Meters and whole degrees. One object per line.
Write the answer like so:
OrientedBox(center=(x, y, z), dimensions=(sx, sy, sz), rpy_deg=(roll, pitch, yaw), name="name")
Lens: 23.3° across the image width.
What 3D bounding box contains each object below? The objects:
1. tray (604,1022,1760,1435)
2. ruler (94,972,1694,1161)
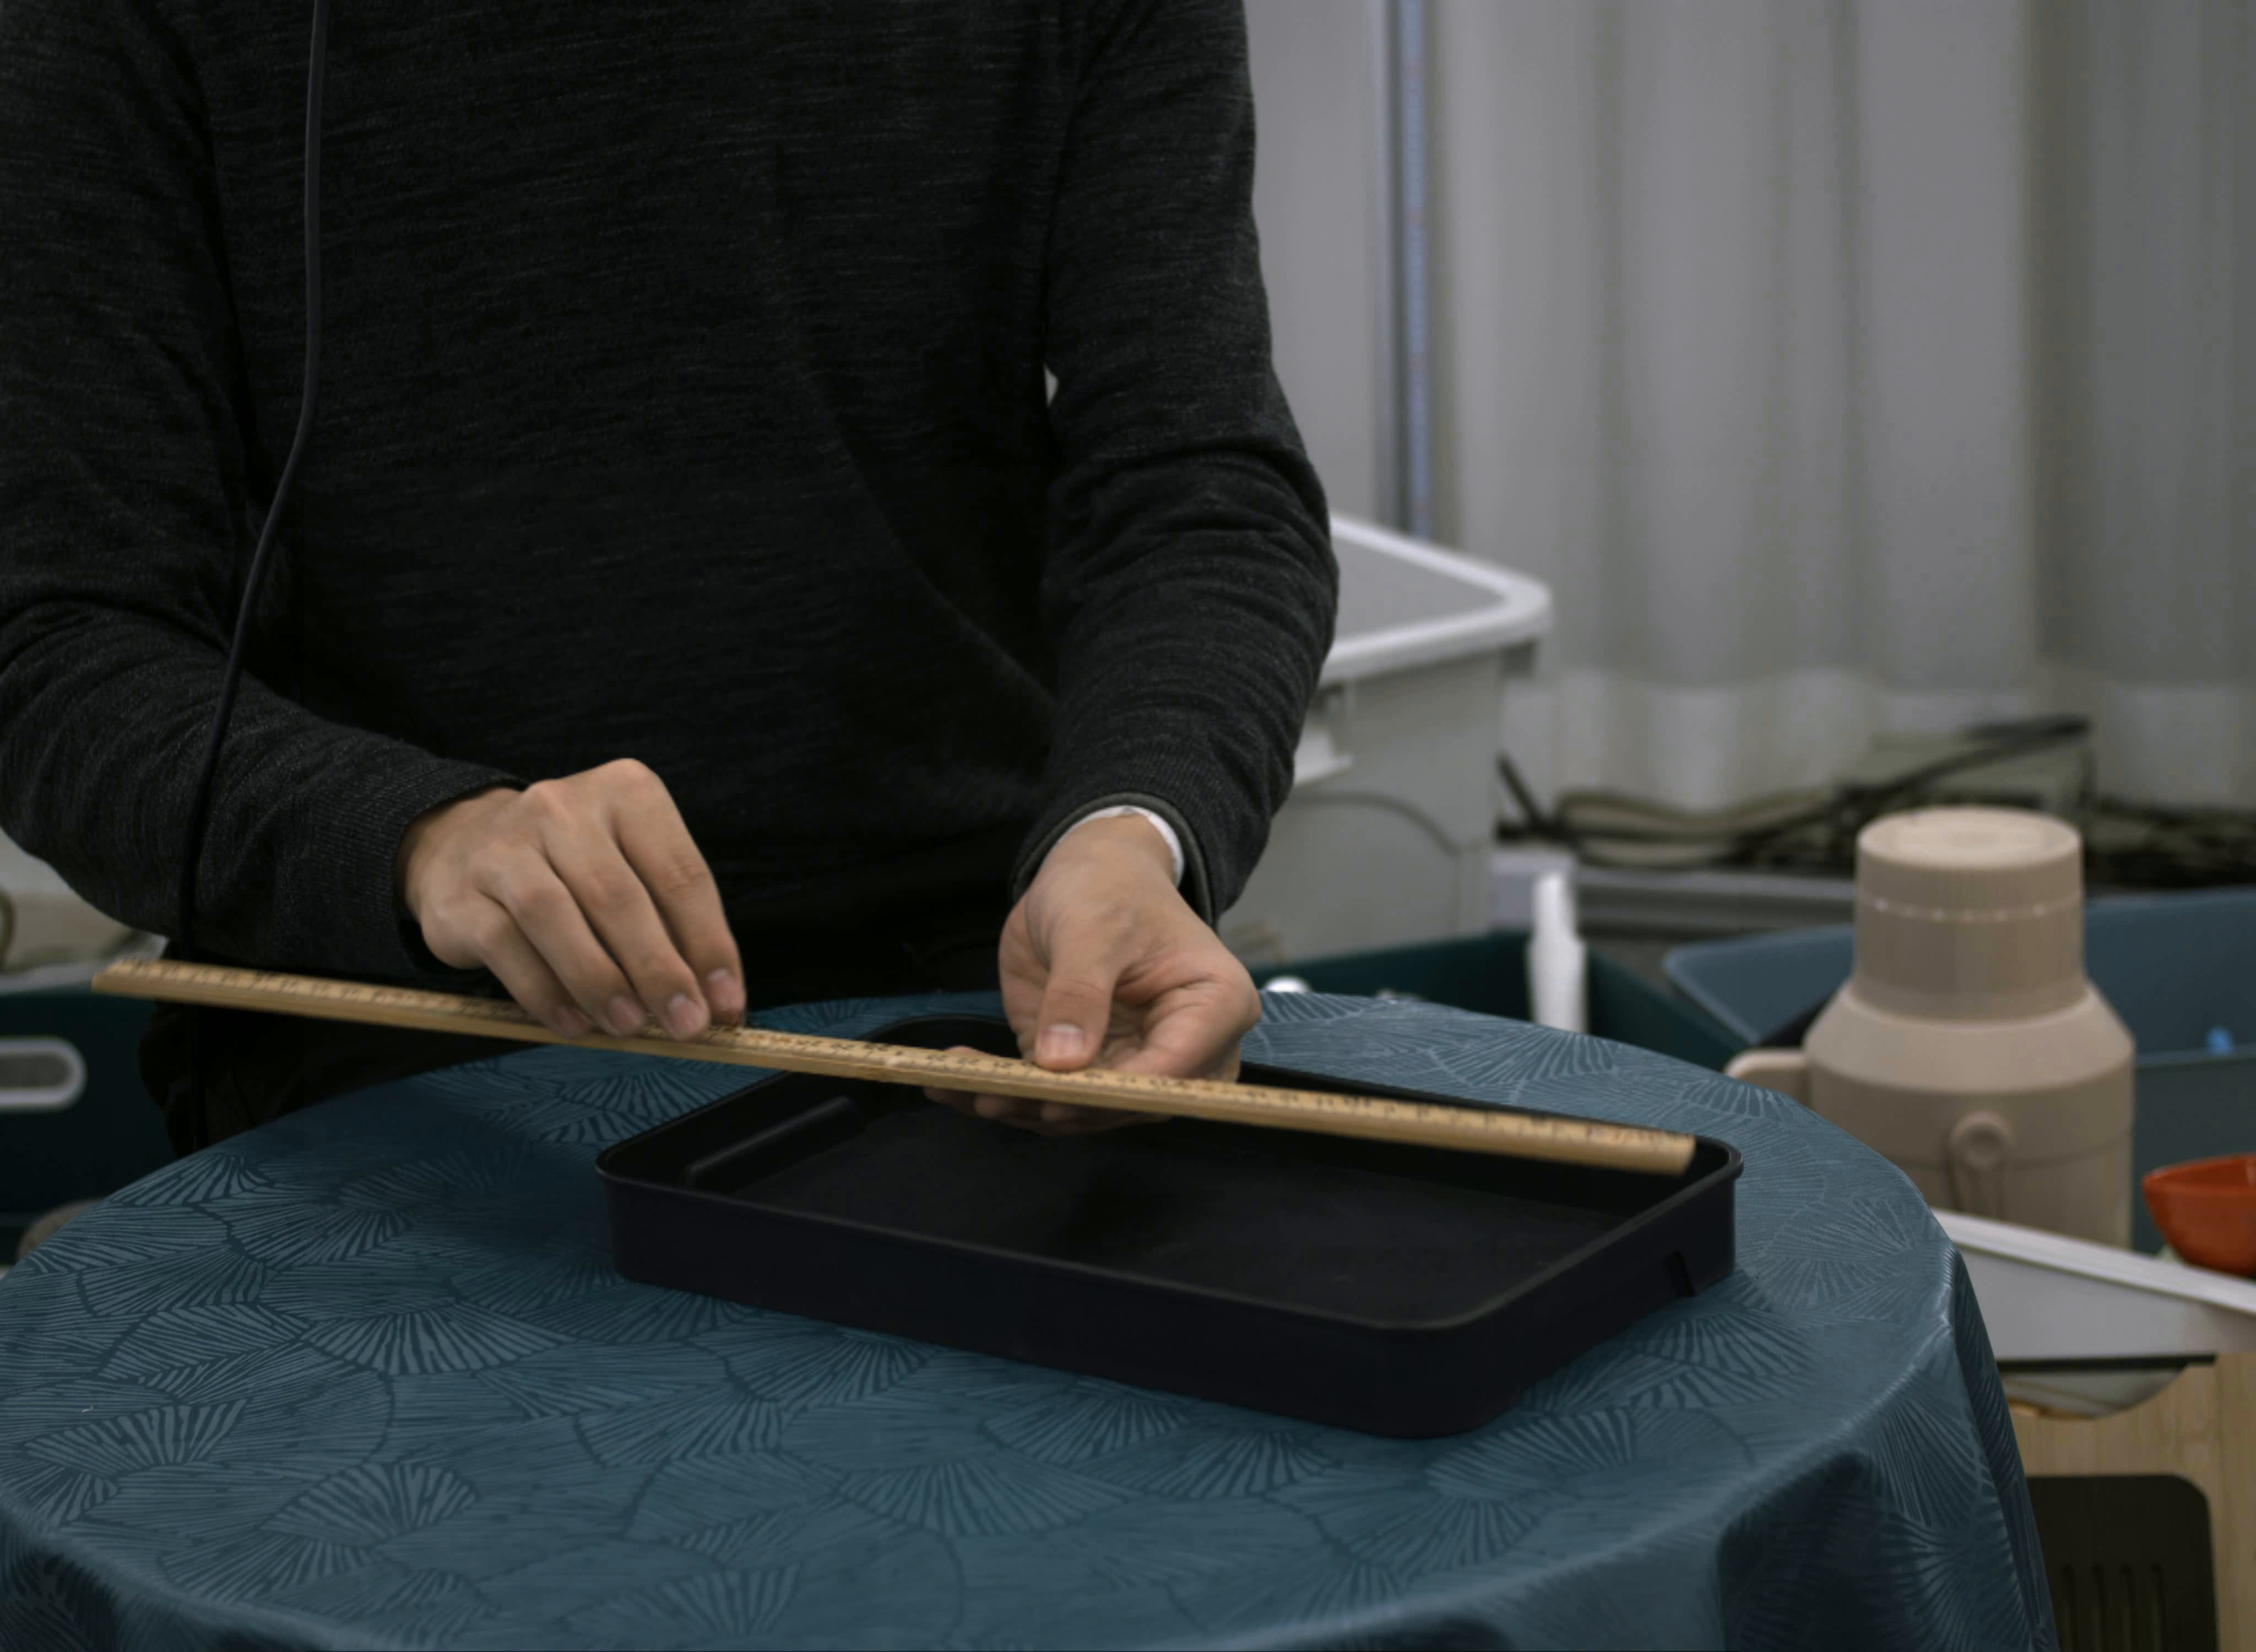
OrientedBox(center=(0.015, 0.116, 1.638), dimensions=(0.319, 0.037, 0.184), rpy_deg=(7, 17, 34), name="tray")
OrientedBox(center=(-0.078, 0.070, 1.639), dimensions=(0.500, 0.006, 0.027), rpy_deg=(5, 11, 16), name="ruler")
